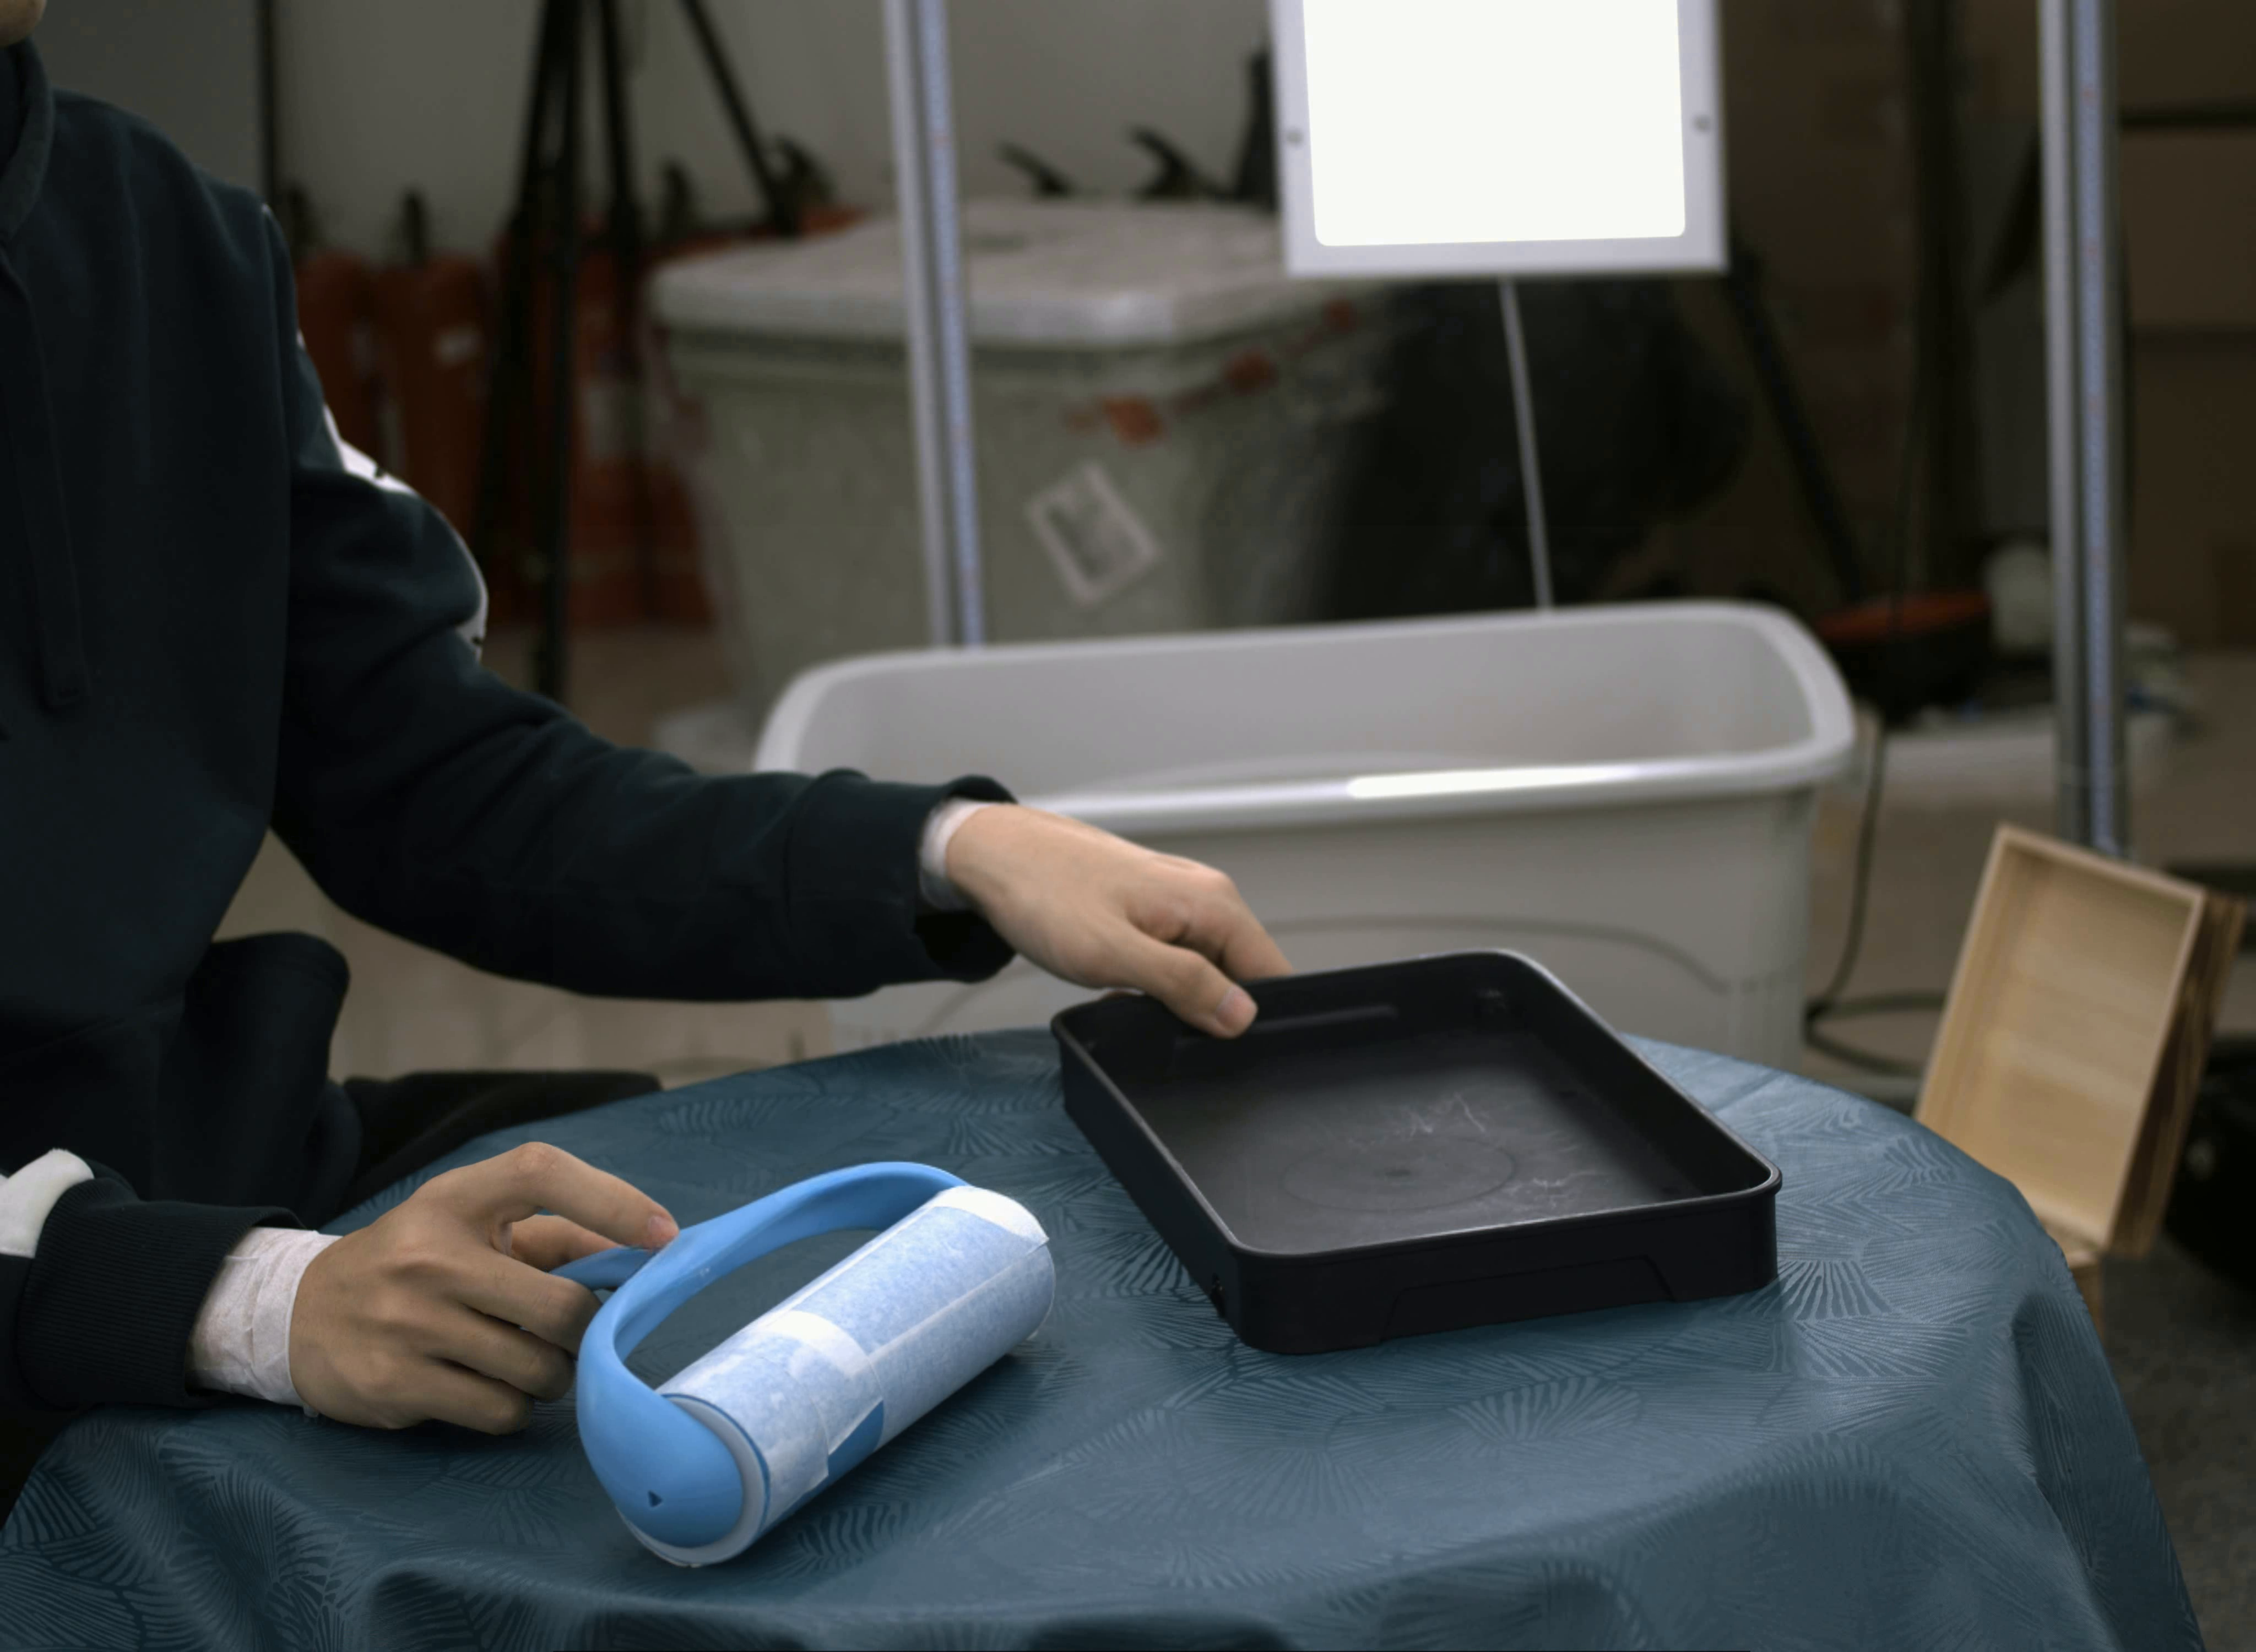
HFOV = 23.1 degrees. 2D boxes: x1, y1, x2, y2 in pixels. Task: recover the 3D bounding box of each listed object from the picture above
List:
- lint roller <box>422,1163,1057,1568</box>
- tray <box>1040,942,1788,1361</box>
[{"bbox_3d":[-0.140,0.159,1.688,0.183,0.068,0.224,3,18,23],"label":"lint roller"},{"bbox_3d":[0.091,0.106,1.875,0.182,0.037,0.320,-8,15,-11],"label":"tray"}]
